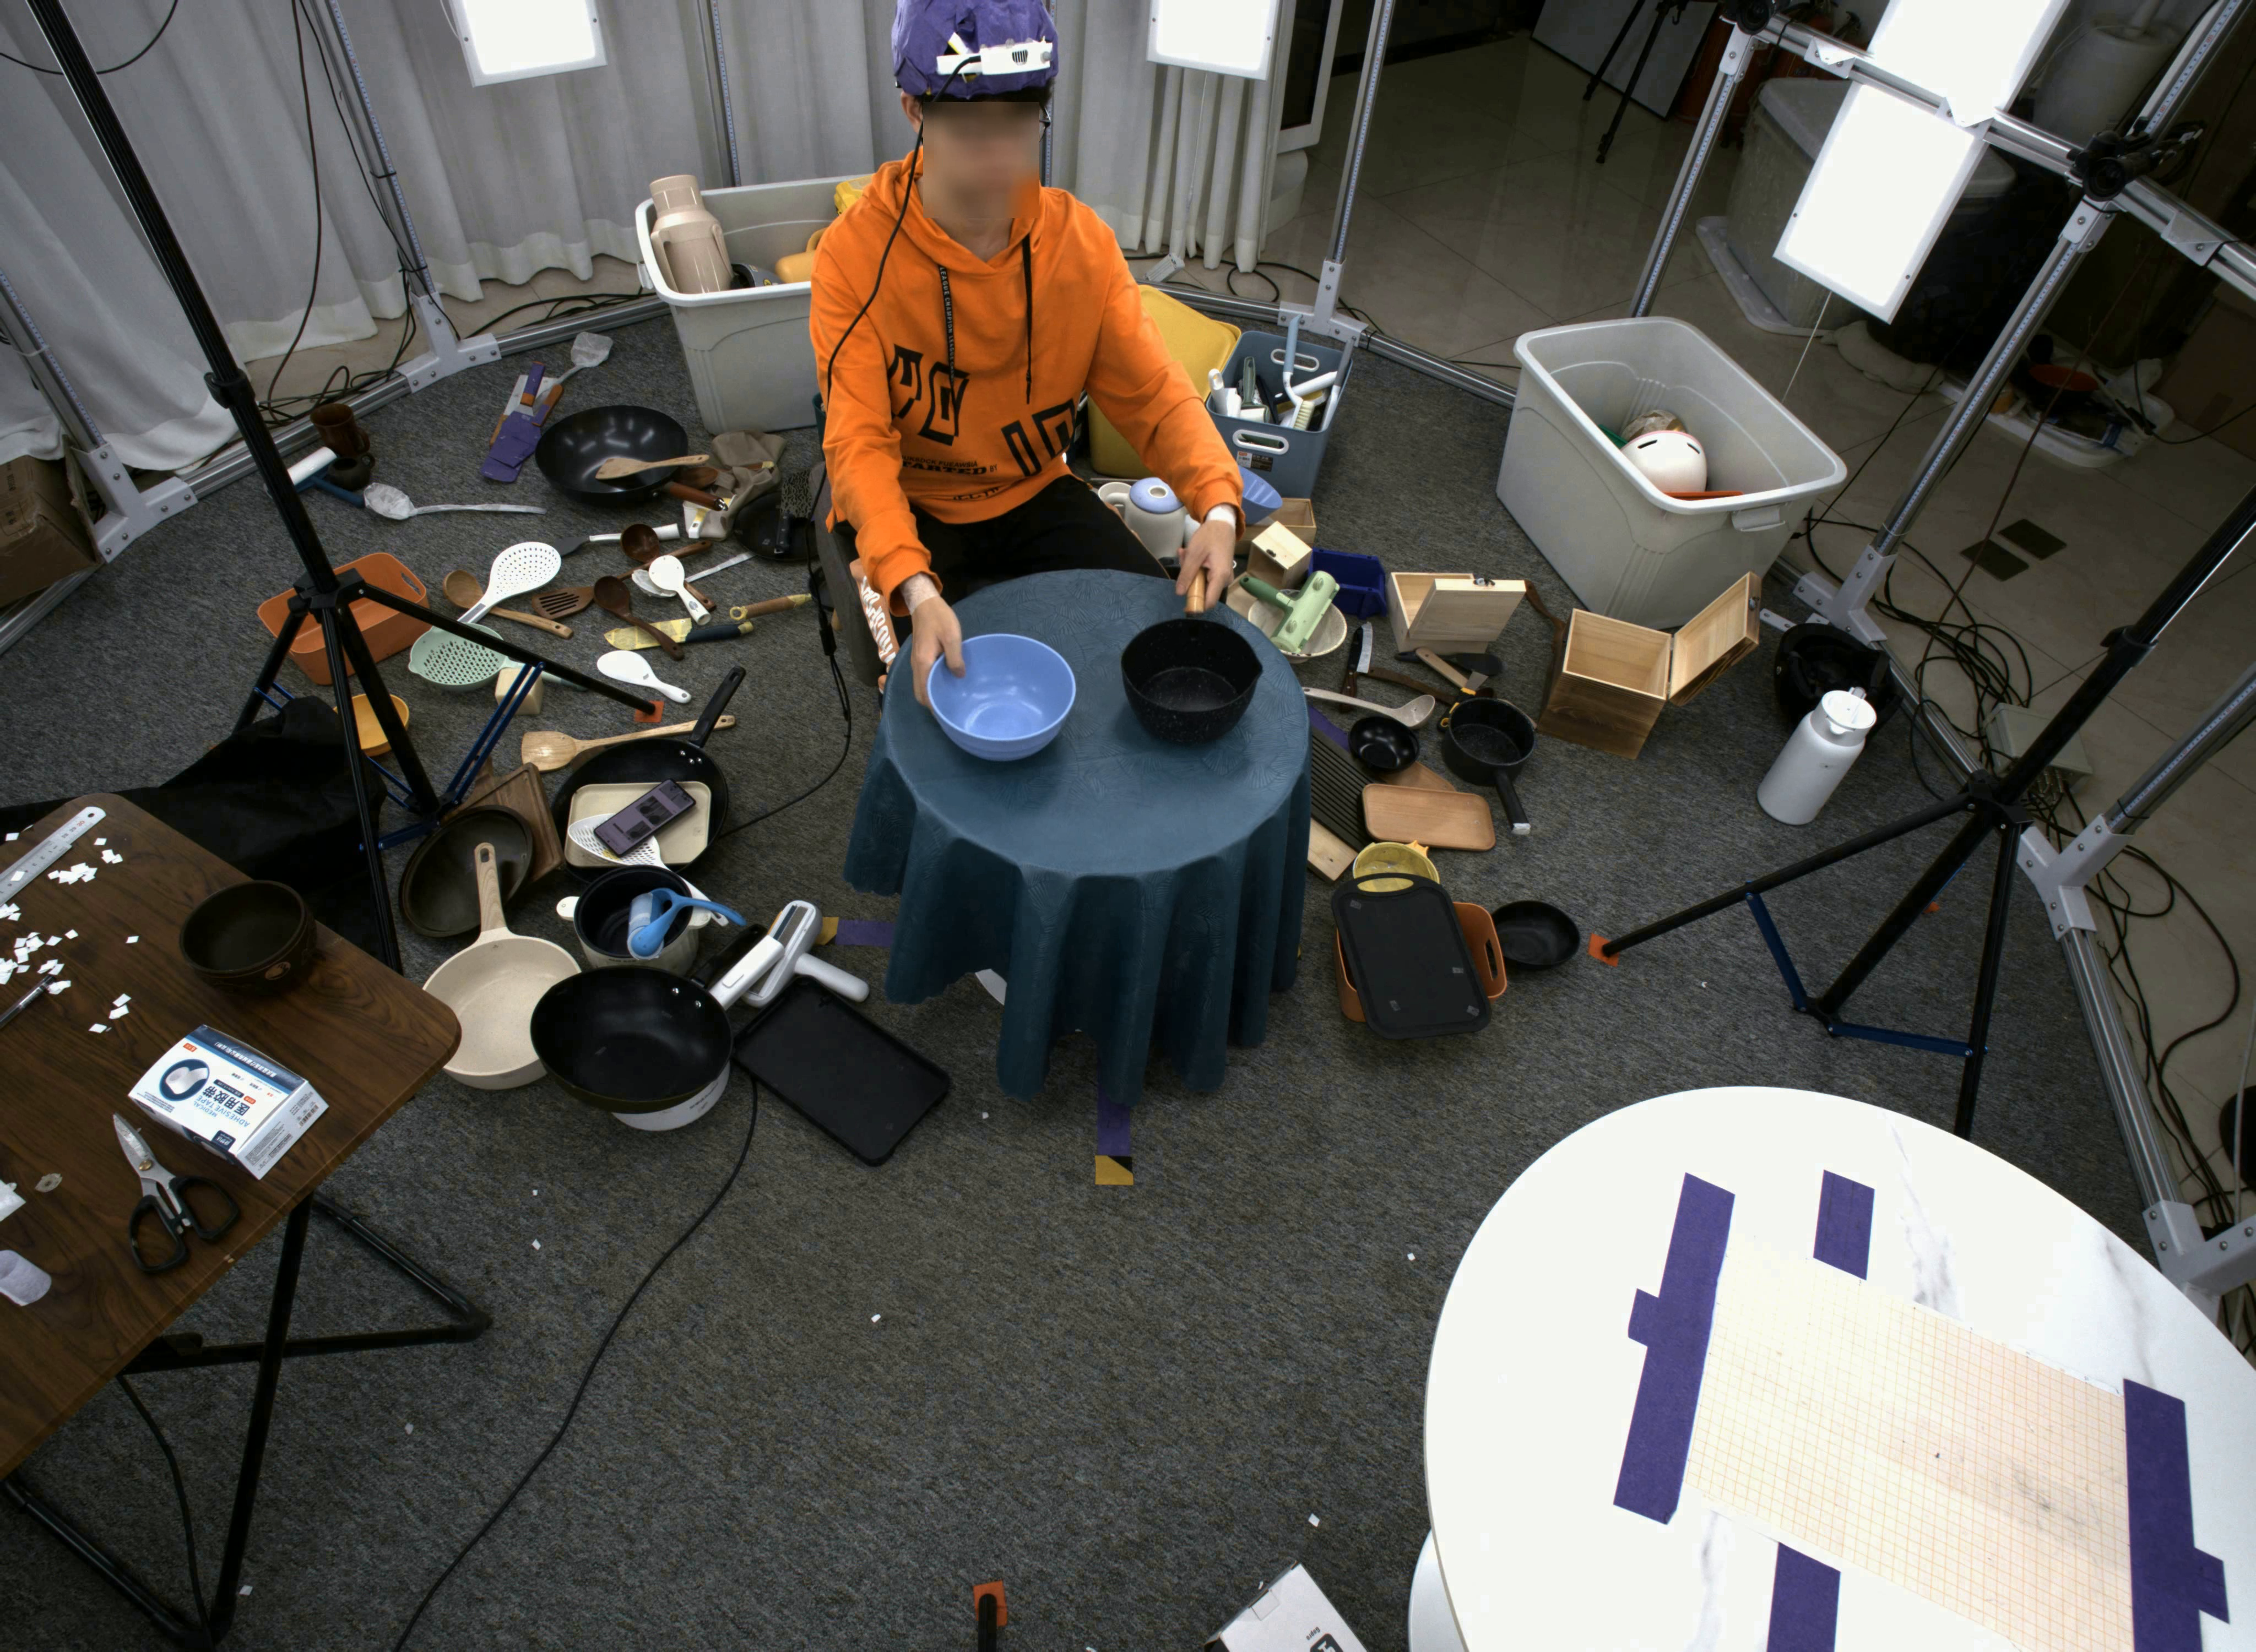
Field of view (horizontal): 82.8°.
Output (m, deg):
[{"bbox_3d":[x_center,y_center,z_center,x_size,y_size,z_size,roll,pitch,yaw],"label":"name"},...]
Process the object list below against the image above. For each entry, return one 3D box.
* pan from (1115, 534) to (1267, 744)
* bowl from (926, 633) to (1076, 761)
[{"bbox_3d":[0.091,-0.266,1.823,0.207,0.105,0.351,2,51,3],"label":"pan"},{"bbox_3d":[-0.171,-0.159,1.731,0.196,0.093,0.201,2,52,-3],"label":"bowl"}]
